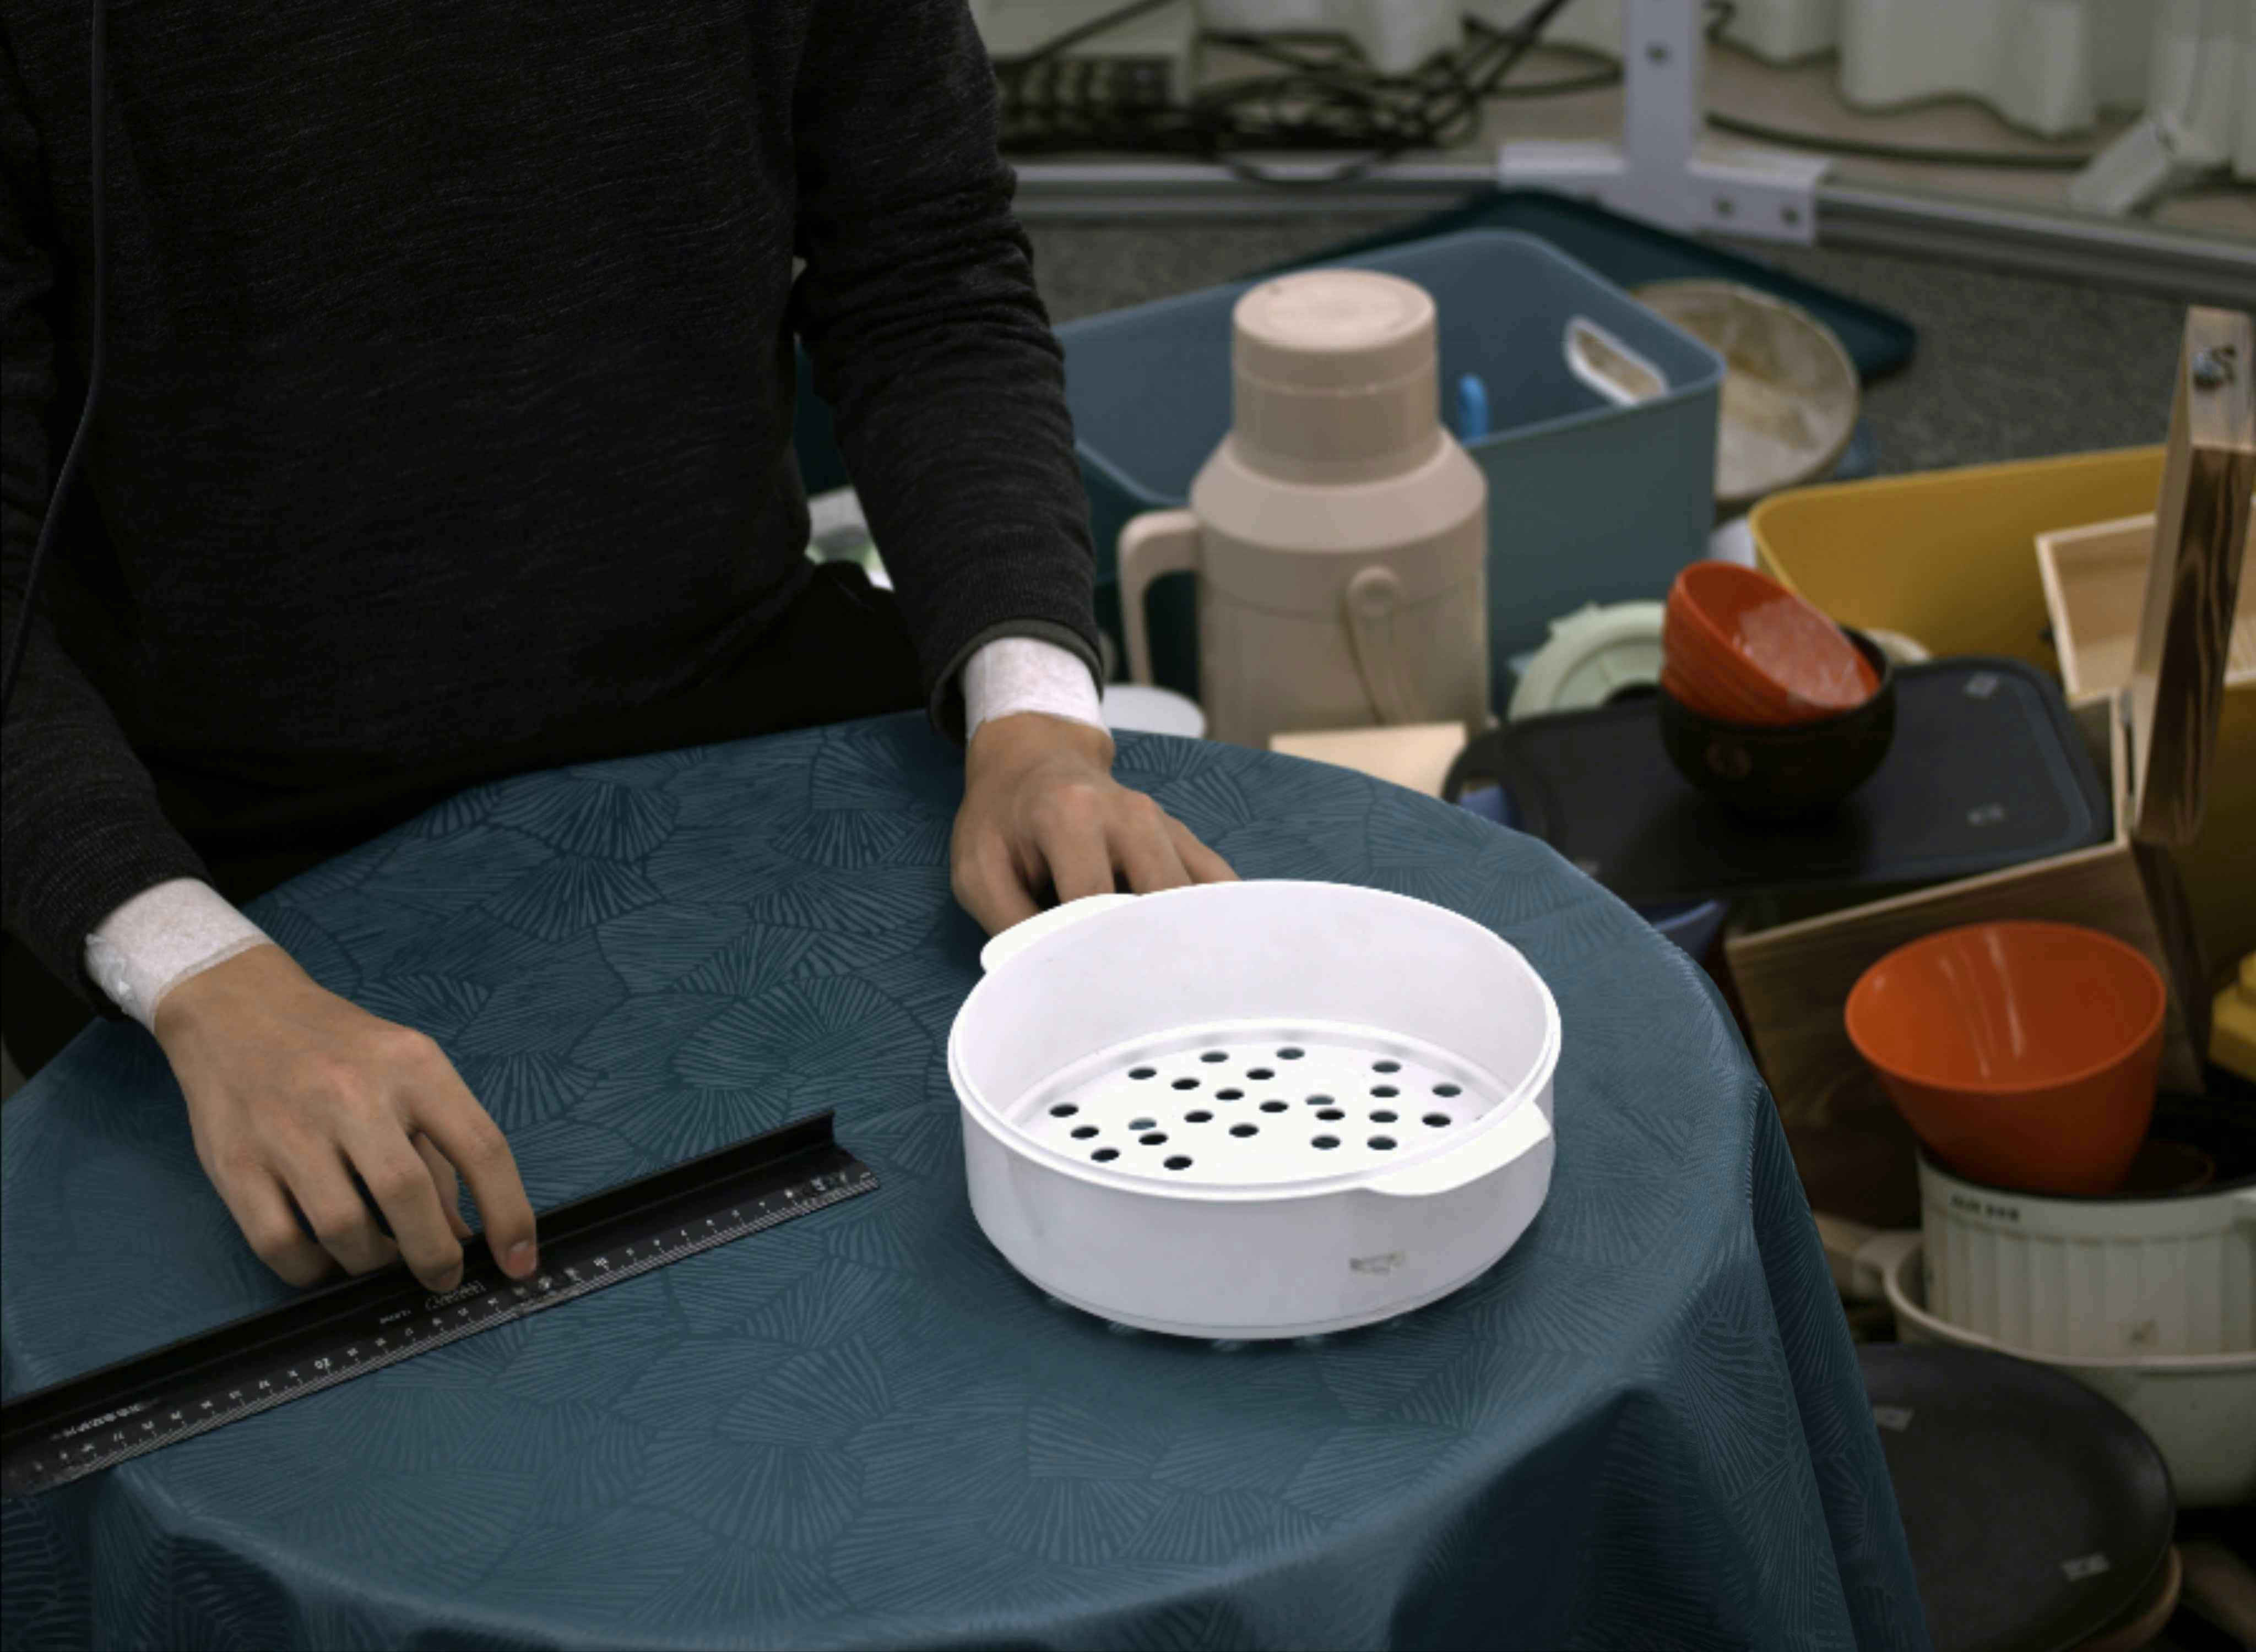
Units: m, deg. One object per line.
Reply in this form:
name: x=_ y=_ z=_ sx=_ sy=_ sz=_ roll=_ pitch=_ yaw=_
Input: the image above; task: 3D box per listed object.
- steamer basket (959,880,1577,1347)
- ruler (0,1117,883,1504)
steamer basket: x=0.046 y=0.094 z=1.835 sx=0.204 sy=0.068 sz=0.231 roll=-23 pitch=35 yaw=-34
ruler: x=-0.222 y=0.152 z=1.807 sx=0.315 sy=0.017 sz=0.039 roll=-18 pitch=34 yaw=-27
